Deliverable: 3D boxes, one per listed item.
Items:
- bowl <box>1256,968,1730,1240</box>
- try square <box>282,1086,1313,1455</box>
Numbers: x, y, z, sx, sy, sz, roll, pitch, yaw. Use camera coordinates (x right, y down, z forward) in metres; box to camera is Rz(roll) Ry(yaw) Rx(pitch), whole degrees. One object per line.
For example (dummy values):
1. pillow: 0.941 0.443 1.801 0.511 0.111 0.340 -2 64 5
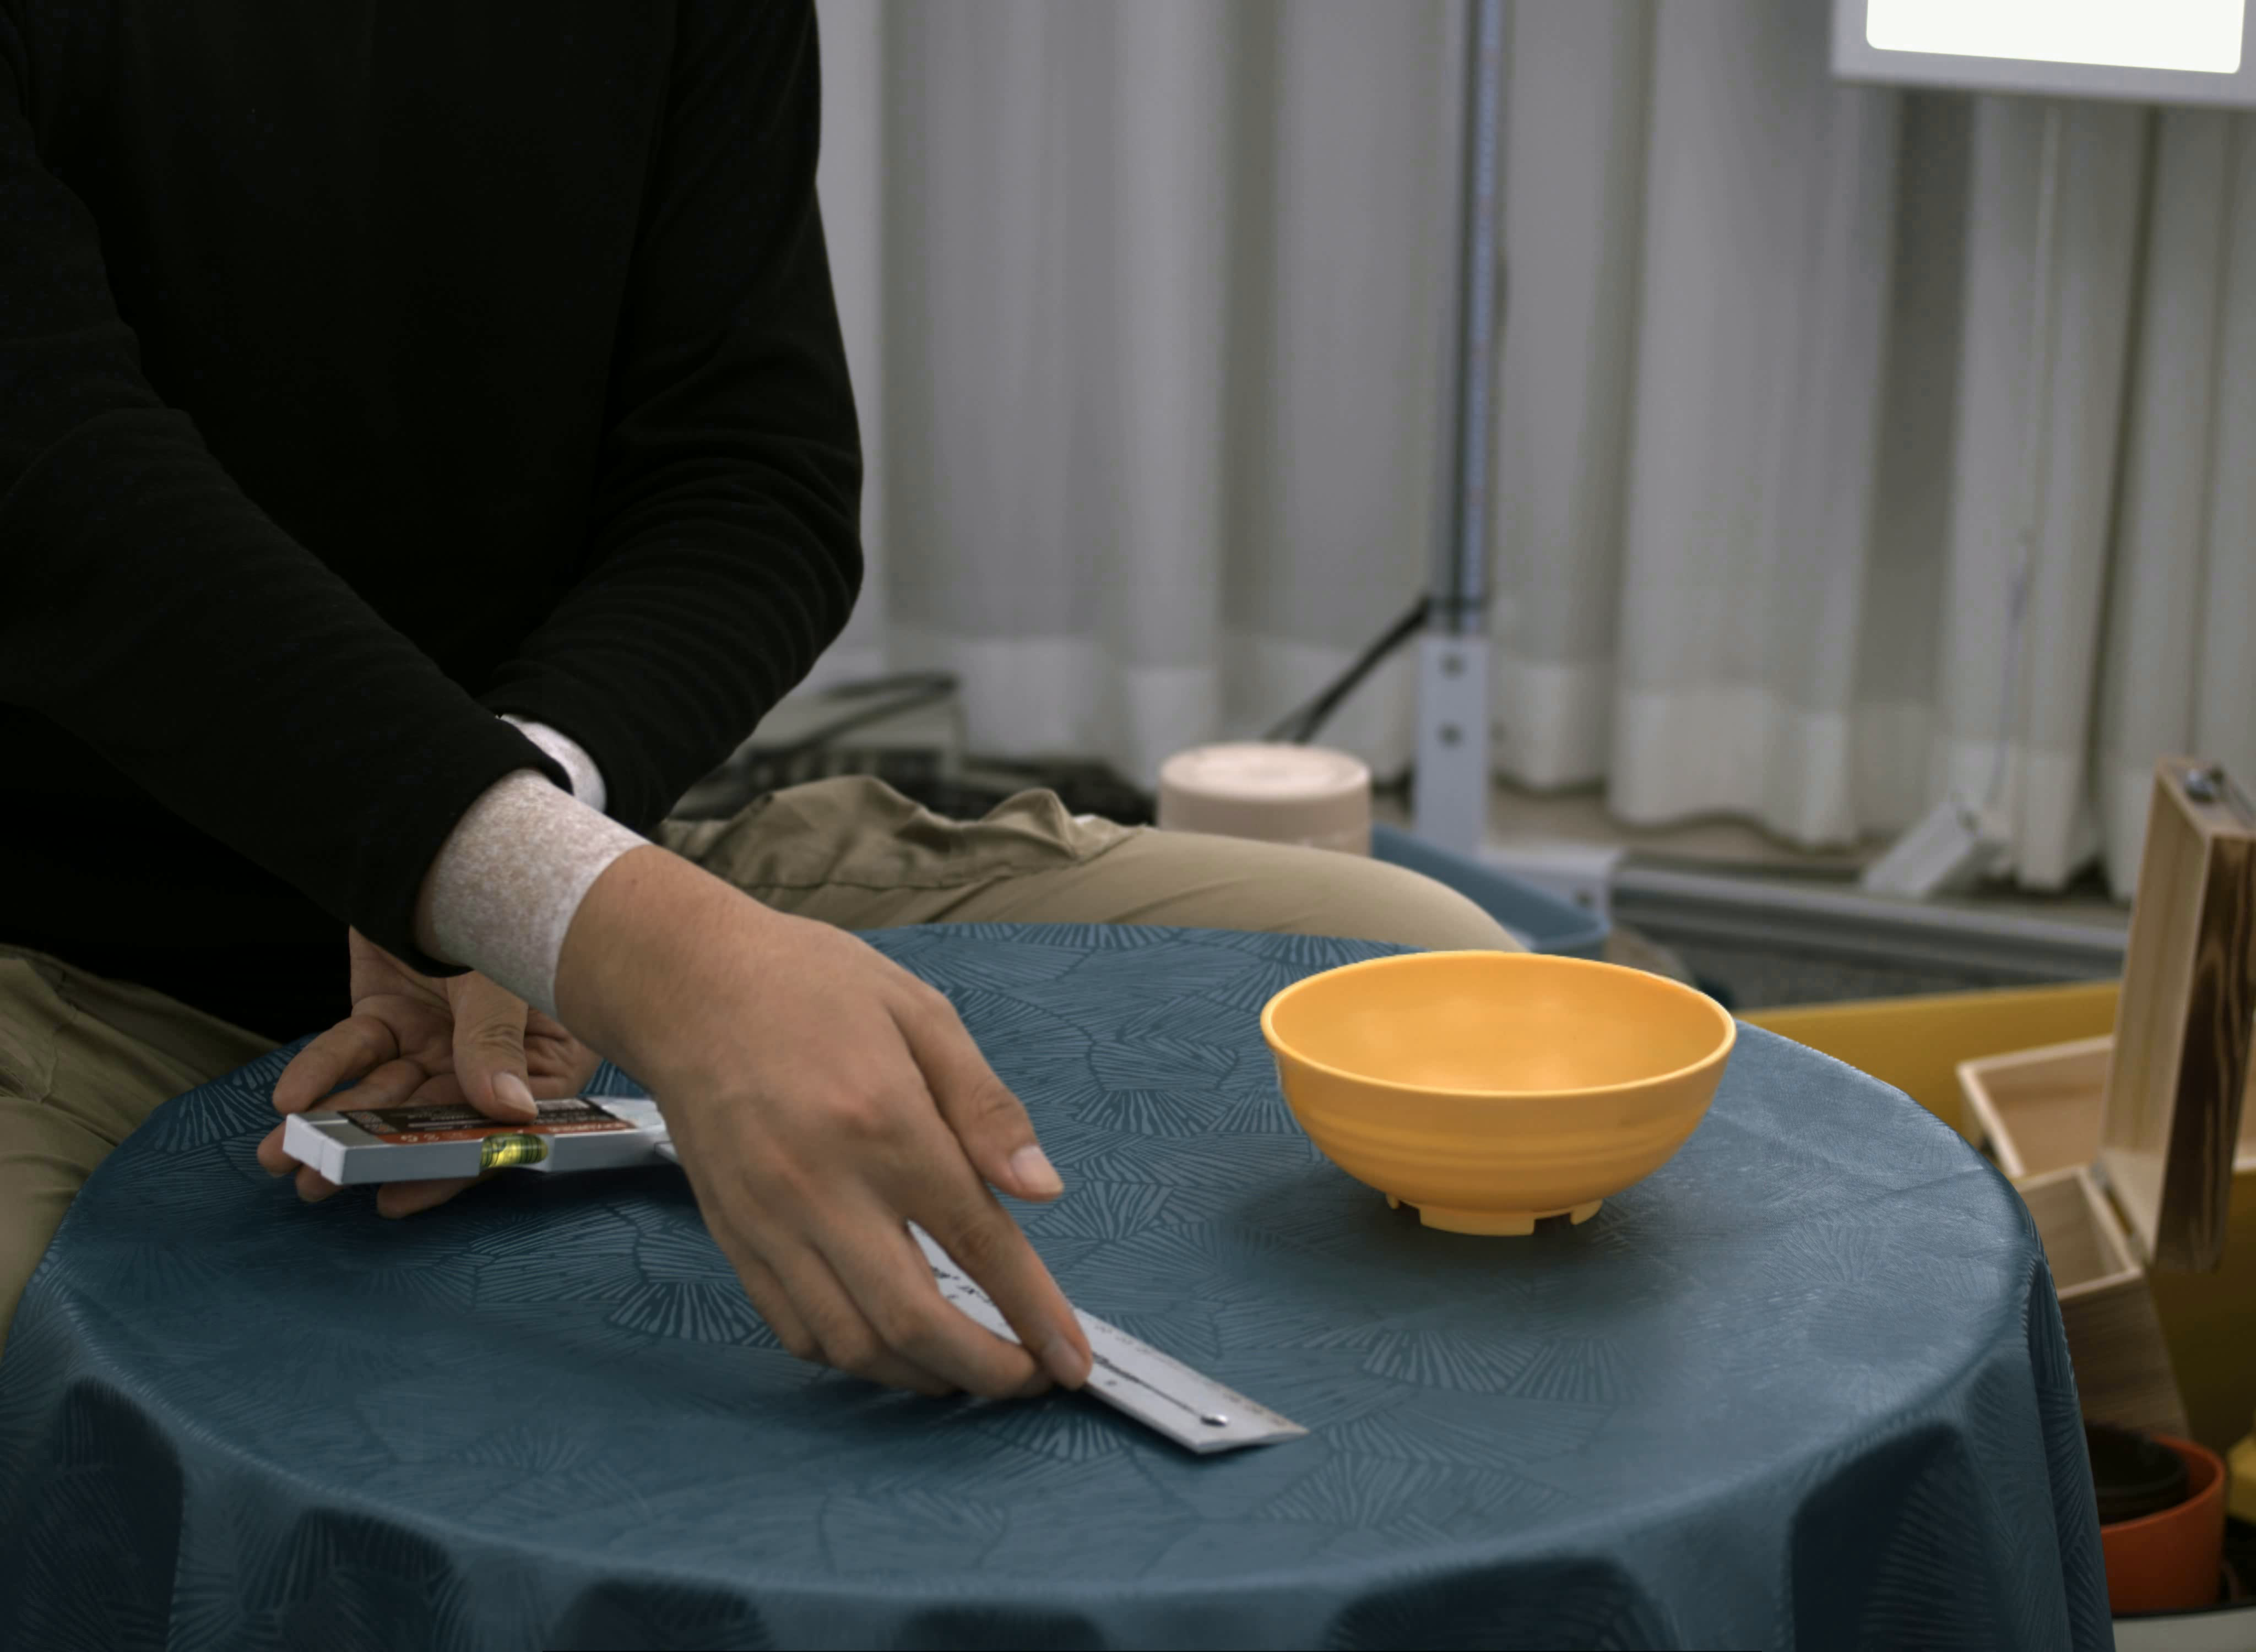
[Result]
1. bowl: 0.110 0.088 1.607 0.145 0.060 0.144 1 13 0
2. try square: -0.102 0.129 1.502 0.153 0.016 0.308 -4 17 -38
